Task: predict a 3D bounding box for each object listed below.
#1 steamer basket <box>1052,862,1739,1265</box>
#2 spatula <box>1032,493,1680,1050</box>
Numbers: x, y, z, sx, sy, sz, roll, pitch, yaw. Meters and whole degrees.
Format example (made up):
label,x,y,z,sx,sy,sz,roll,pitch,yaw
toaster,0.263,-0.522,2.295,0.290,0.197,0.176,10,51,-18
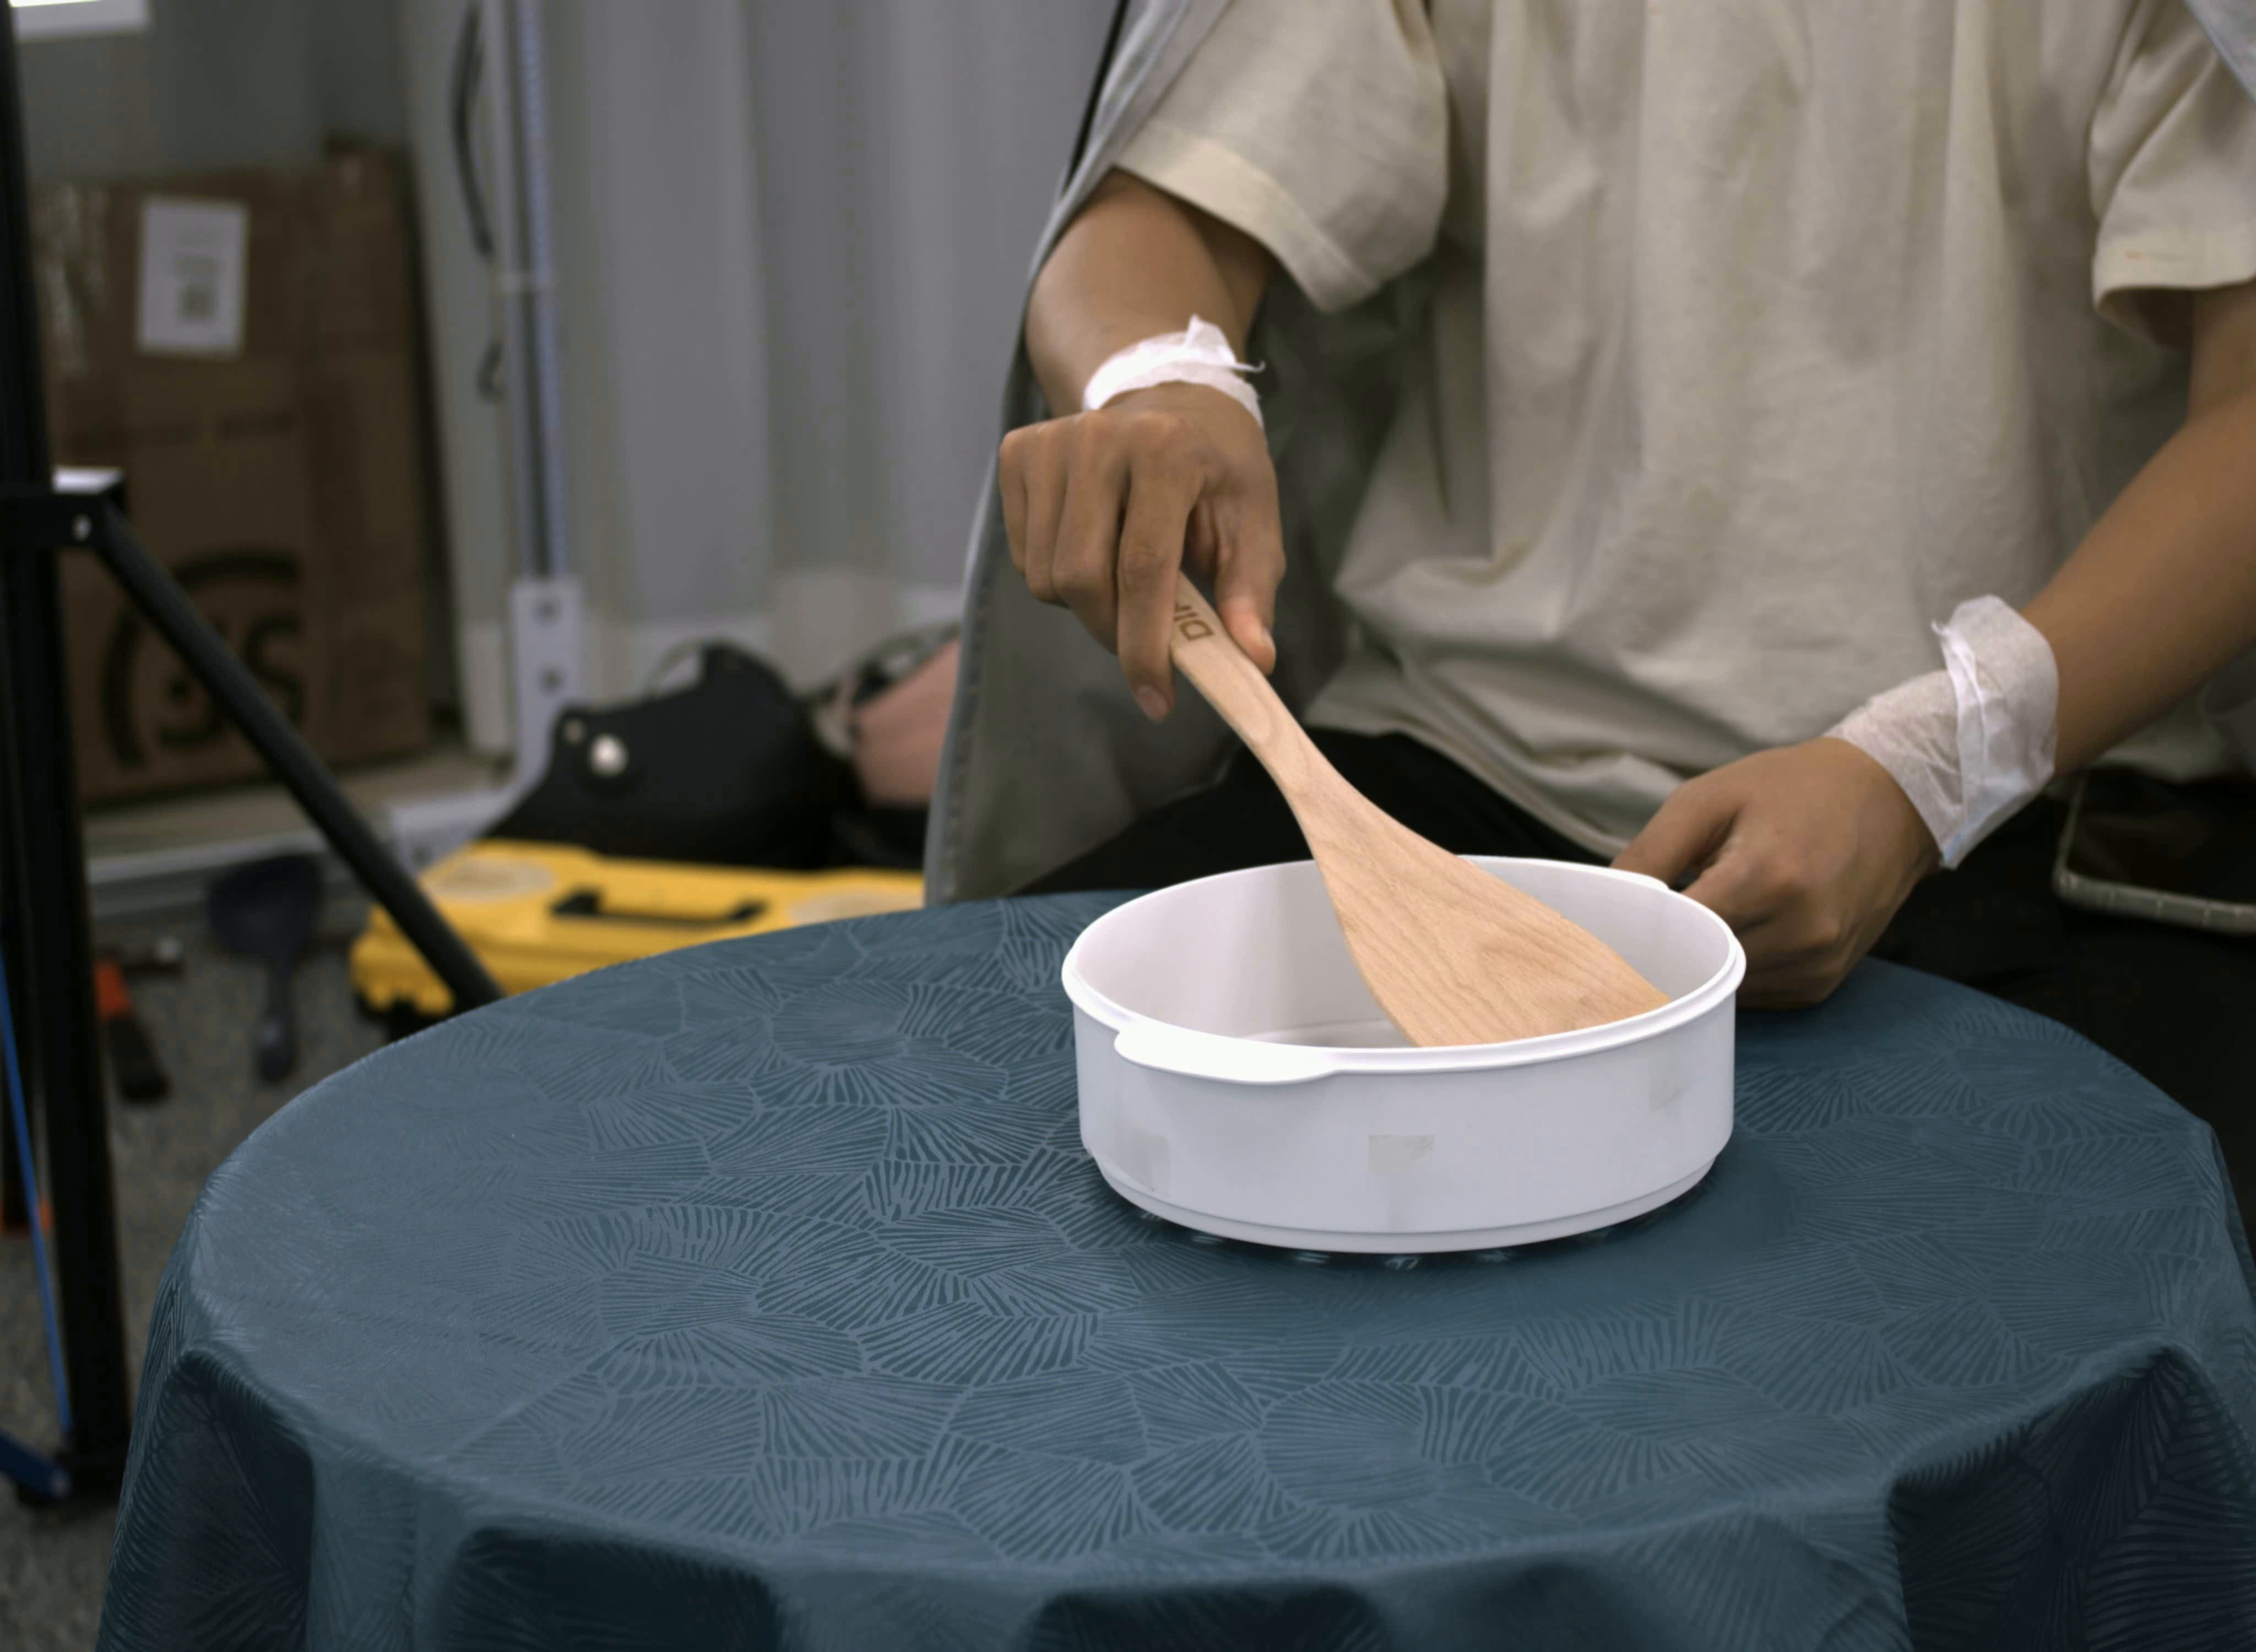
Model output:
label,x,y,z,sx,sy,sz,roll,pitch,yaw
steamer basket,0.078,0.069,1.559,0.206,0.069,0.226,10,19,34
spatula,0.057,-0.018,1.628,0.078,0.016,0.335,-15,41,-25
